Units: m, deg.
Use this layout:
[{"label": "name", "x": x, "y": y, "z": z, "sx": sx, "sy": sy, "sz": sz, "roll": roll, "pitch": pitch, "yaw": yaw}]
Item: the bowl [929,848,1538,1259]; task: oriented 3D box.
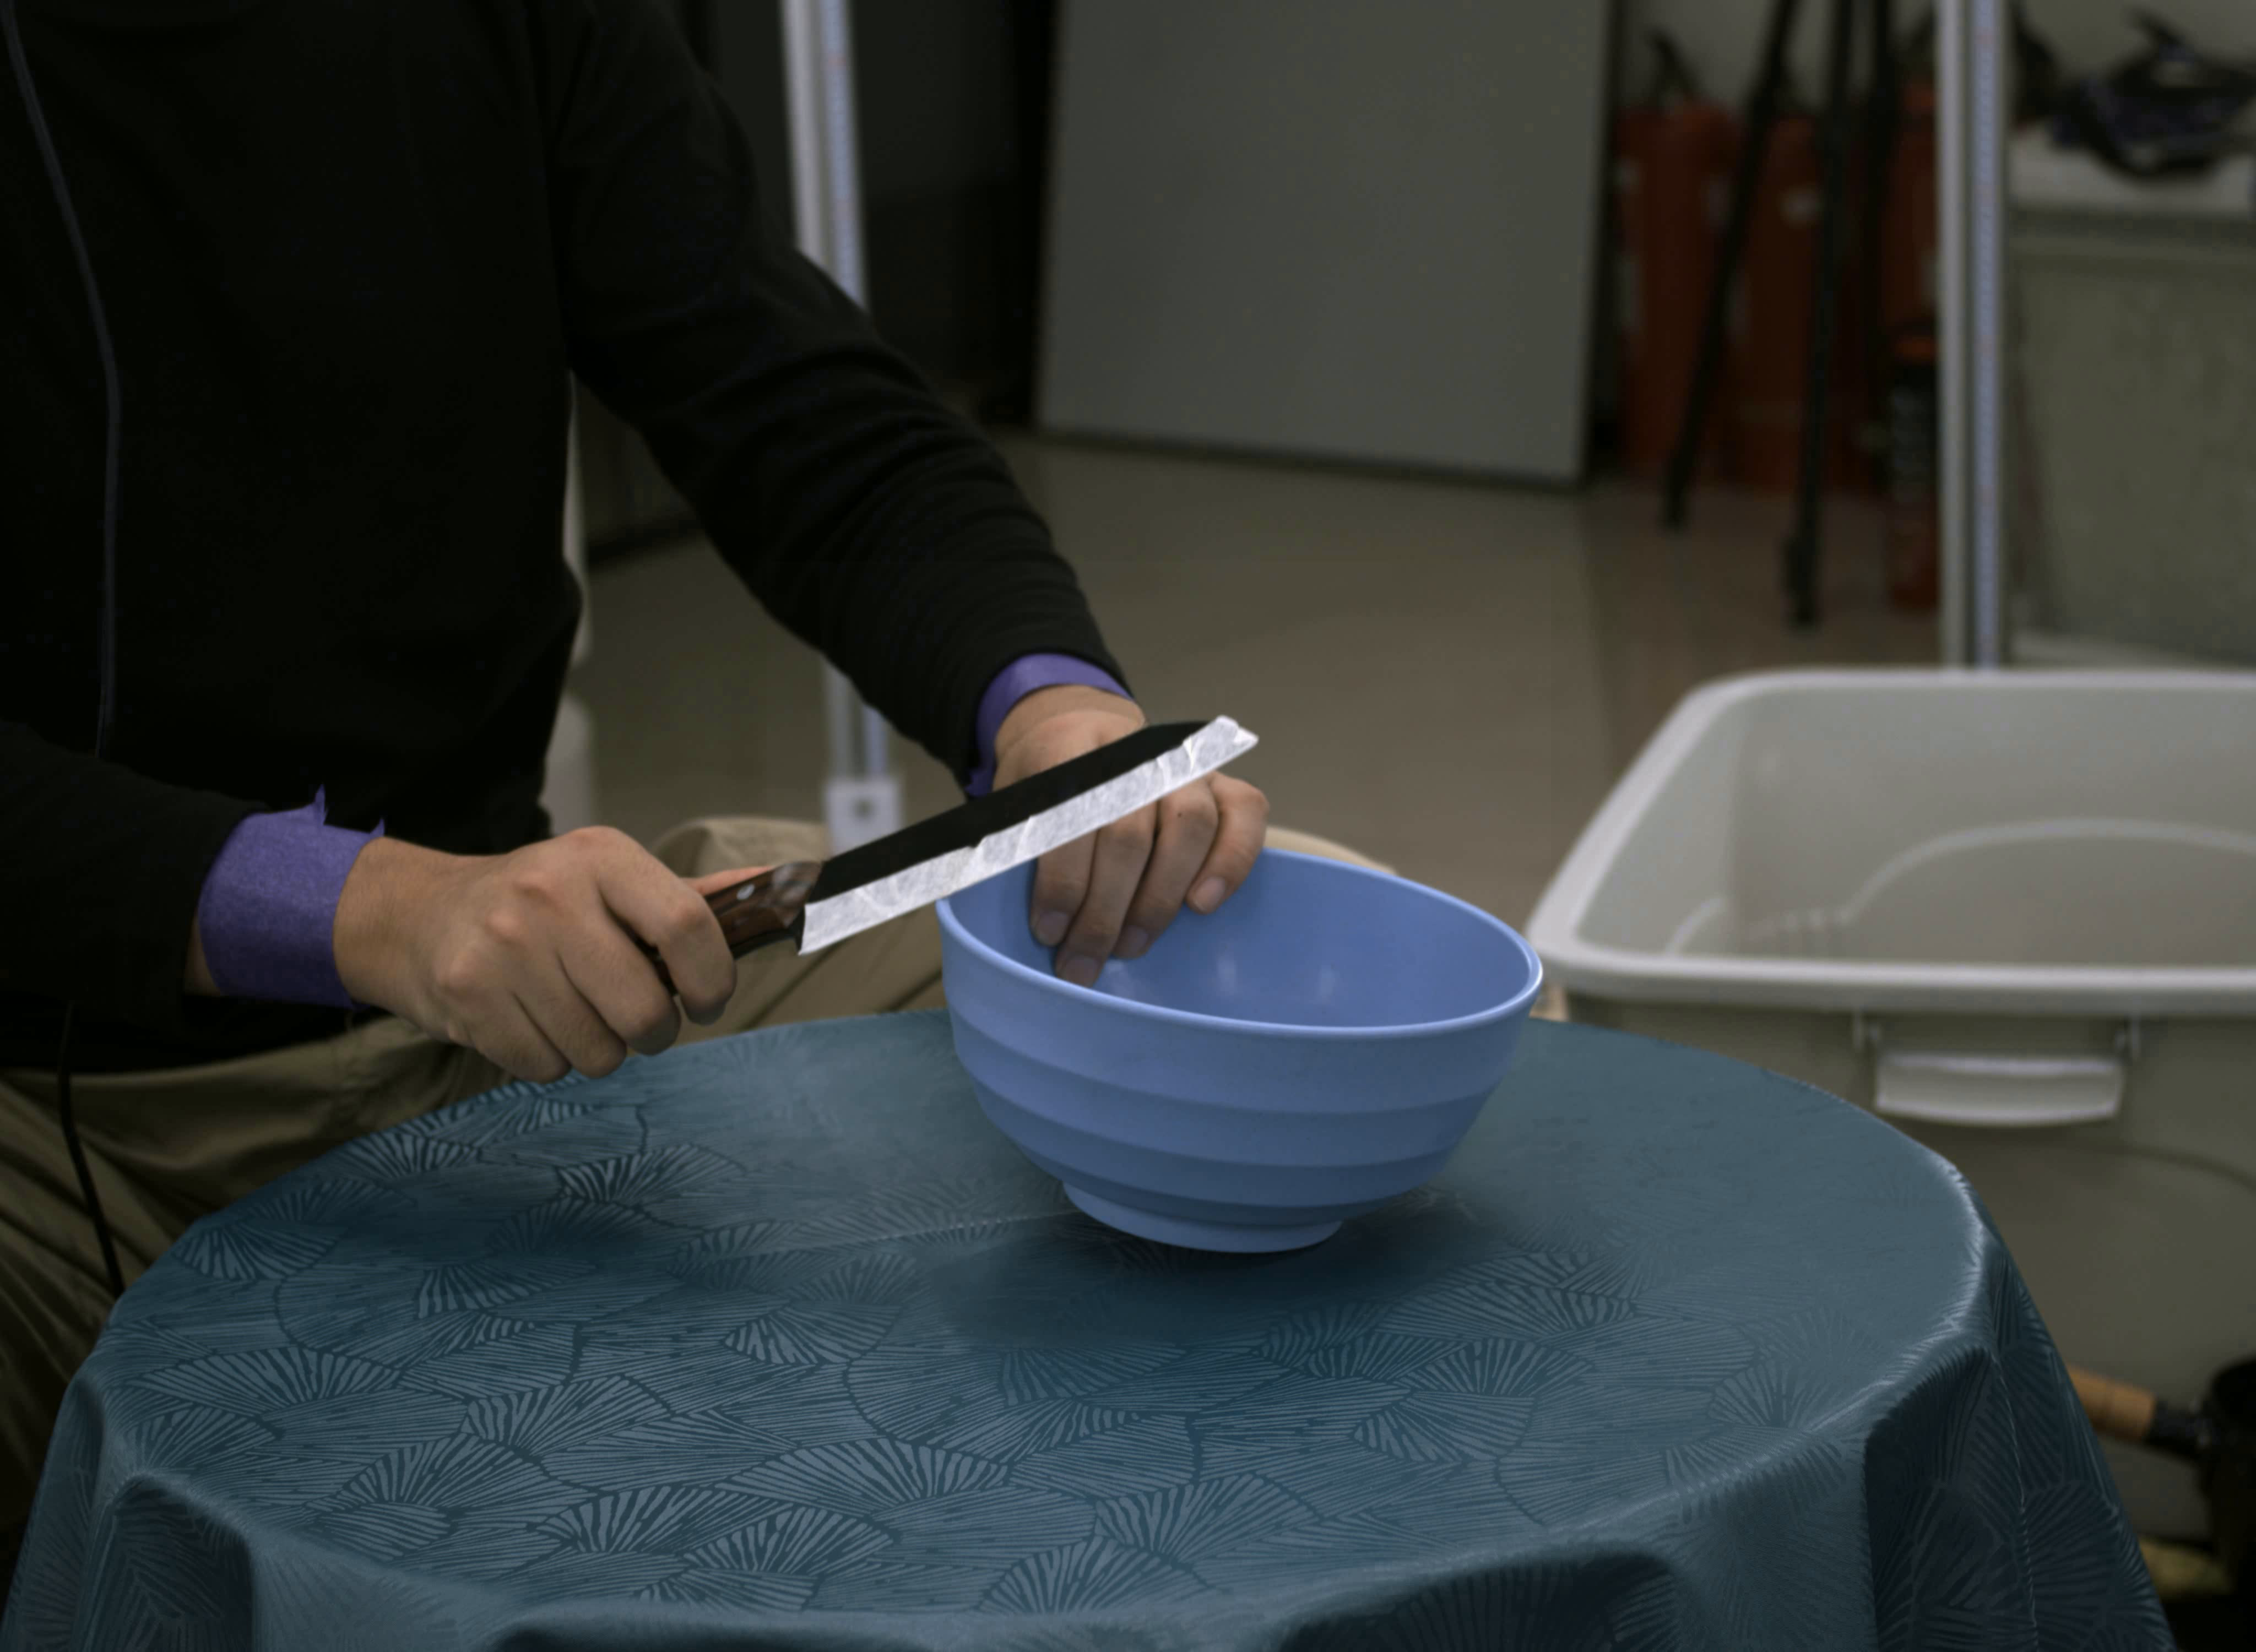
[{"label": "bowl", "x": 0.030, "y": 0.078, "z": 1.720, "sx": 0.194, "sy": 0.096, "sz": 0.197, "roll": 5, "pitch": 15, "yaw": -2}]

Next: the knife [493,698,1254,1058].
[{"label": "knife", "x": -0.084, "y": 0.016, "z": 1.732, "sx": 0.289, "sy": 0.020, "sz": 0.050, "roll": -22, "pitch": 36, "yaw": 23}]
